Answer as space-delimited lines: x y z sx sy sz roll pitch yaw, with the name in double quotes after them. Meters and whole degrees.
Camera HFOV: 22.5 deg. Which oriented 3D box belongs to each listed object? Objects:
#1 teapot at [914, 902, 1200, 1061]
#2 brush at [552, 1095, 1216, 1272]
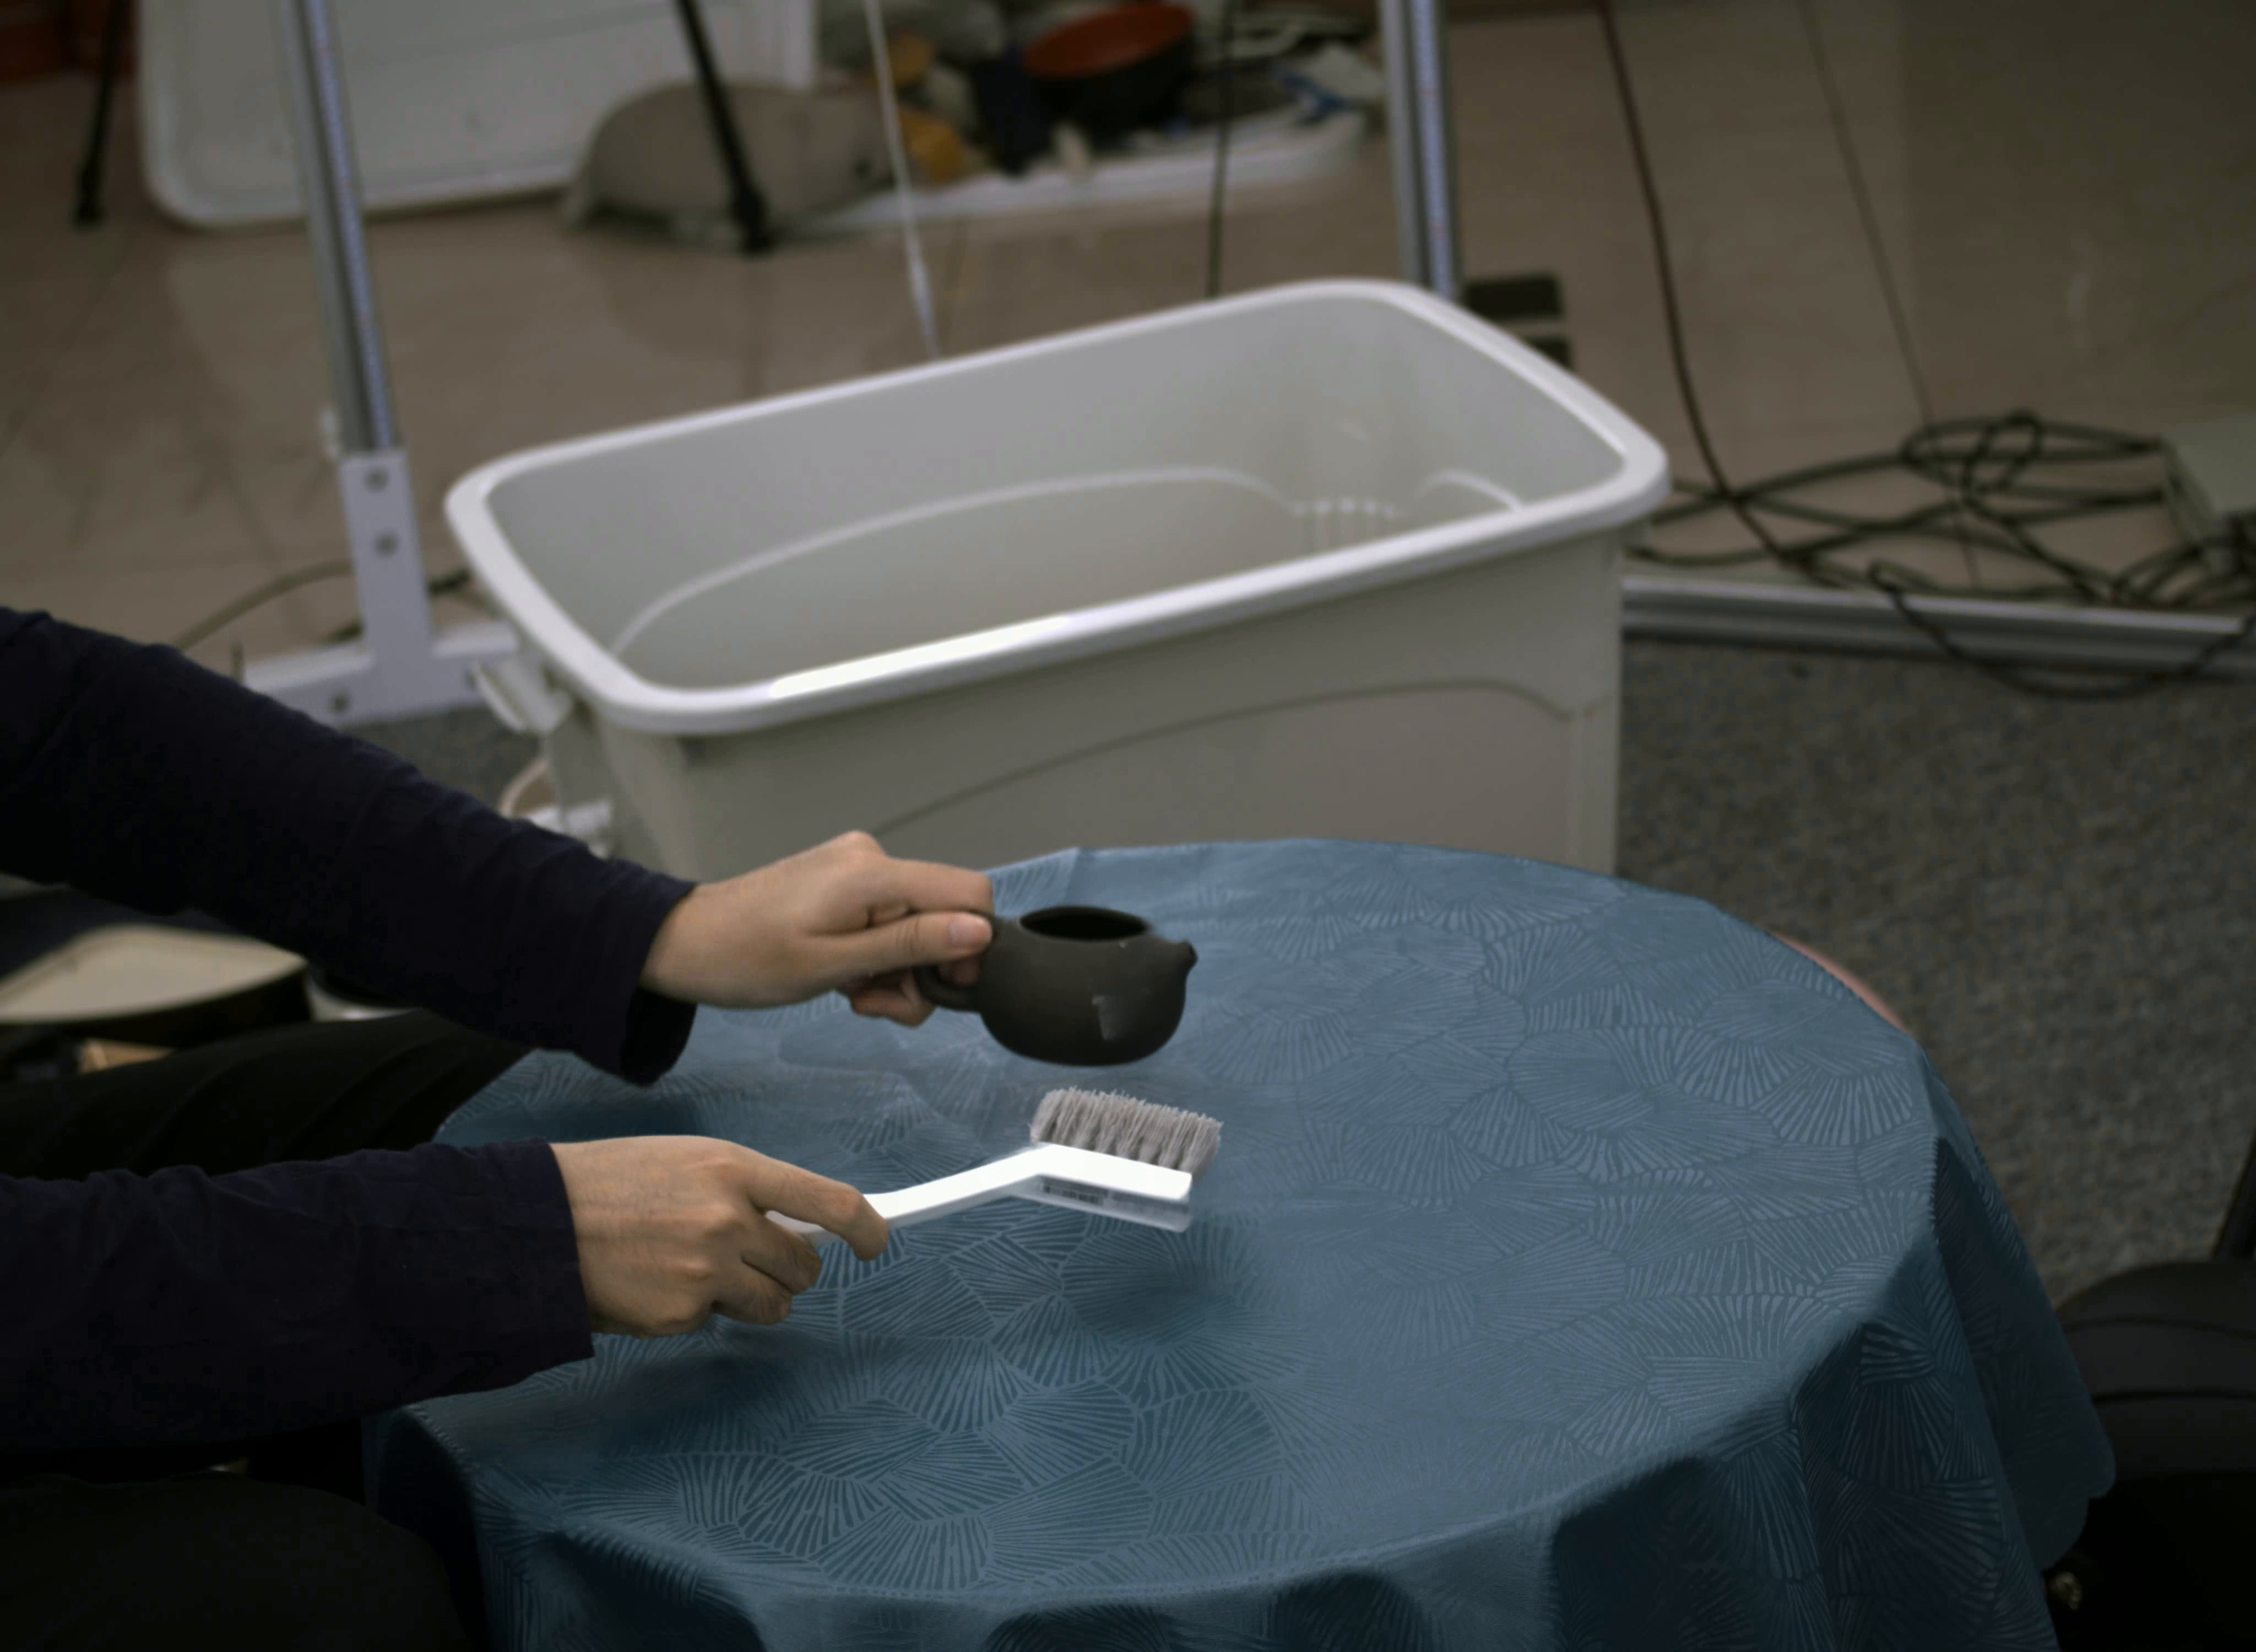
-0.029 0.058 2.198 0.114 0.053 0.082 8 16 16 "teapot"
-0.089 0.129 2.060 0.243 0.050 0.035 -5 -16 1 "brush"
